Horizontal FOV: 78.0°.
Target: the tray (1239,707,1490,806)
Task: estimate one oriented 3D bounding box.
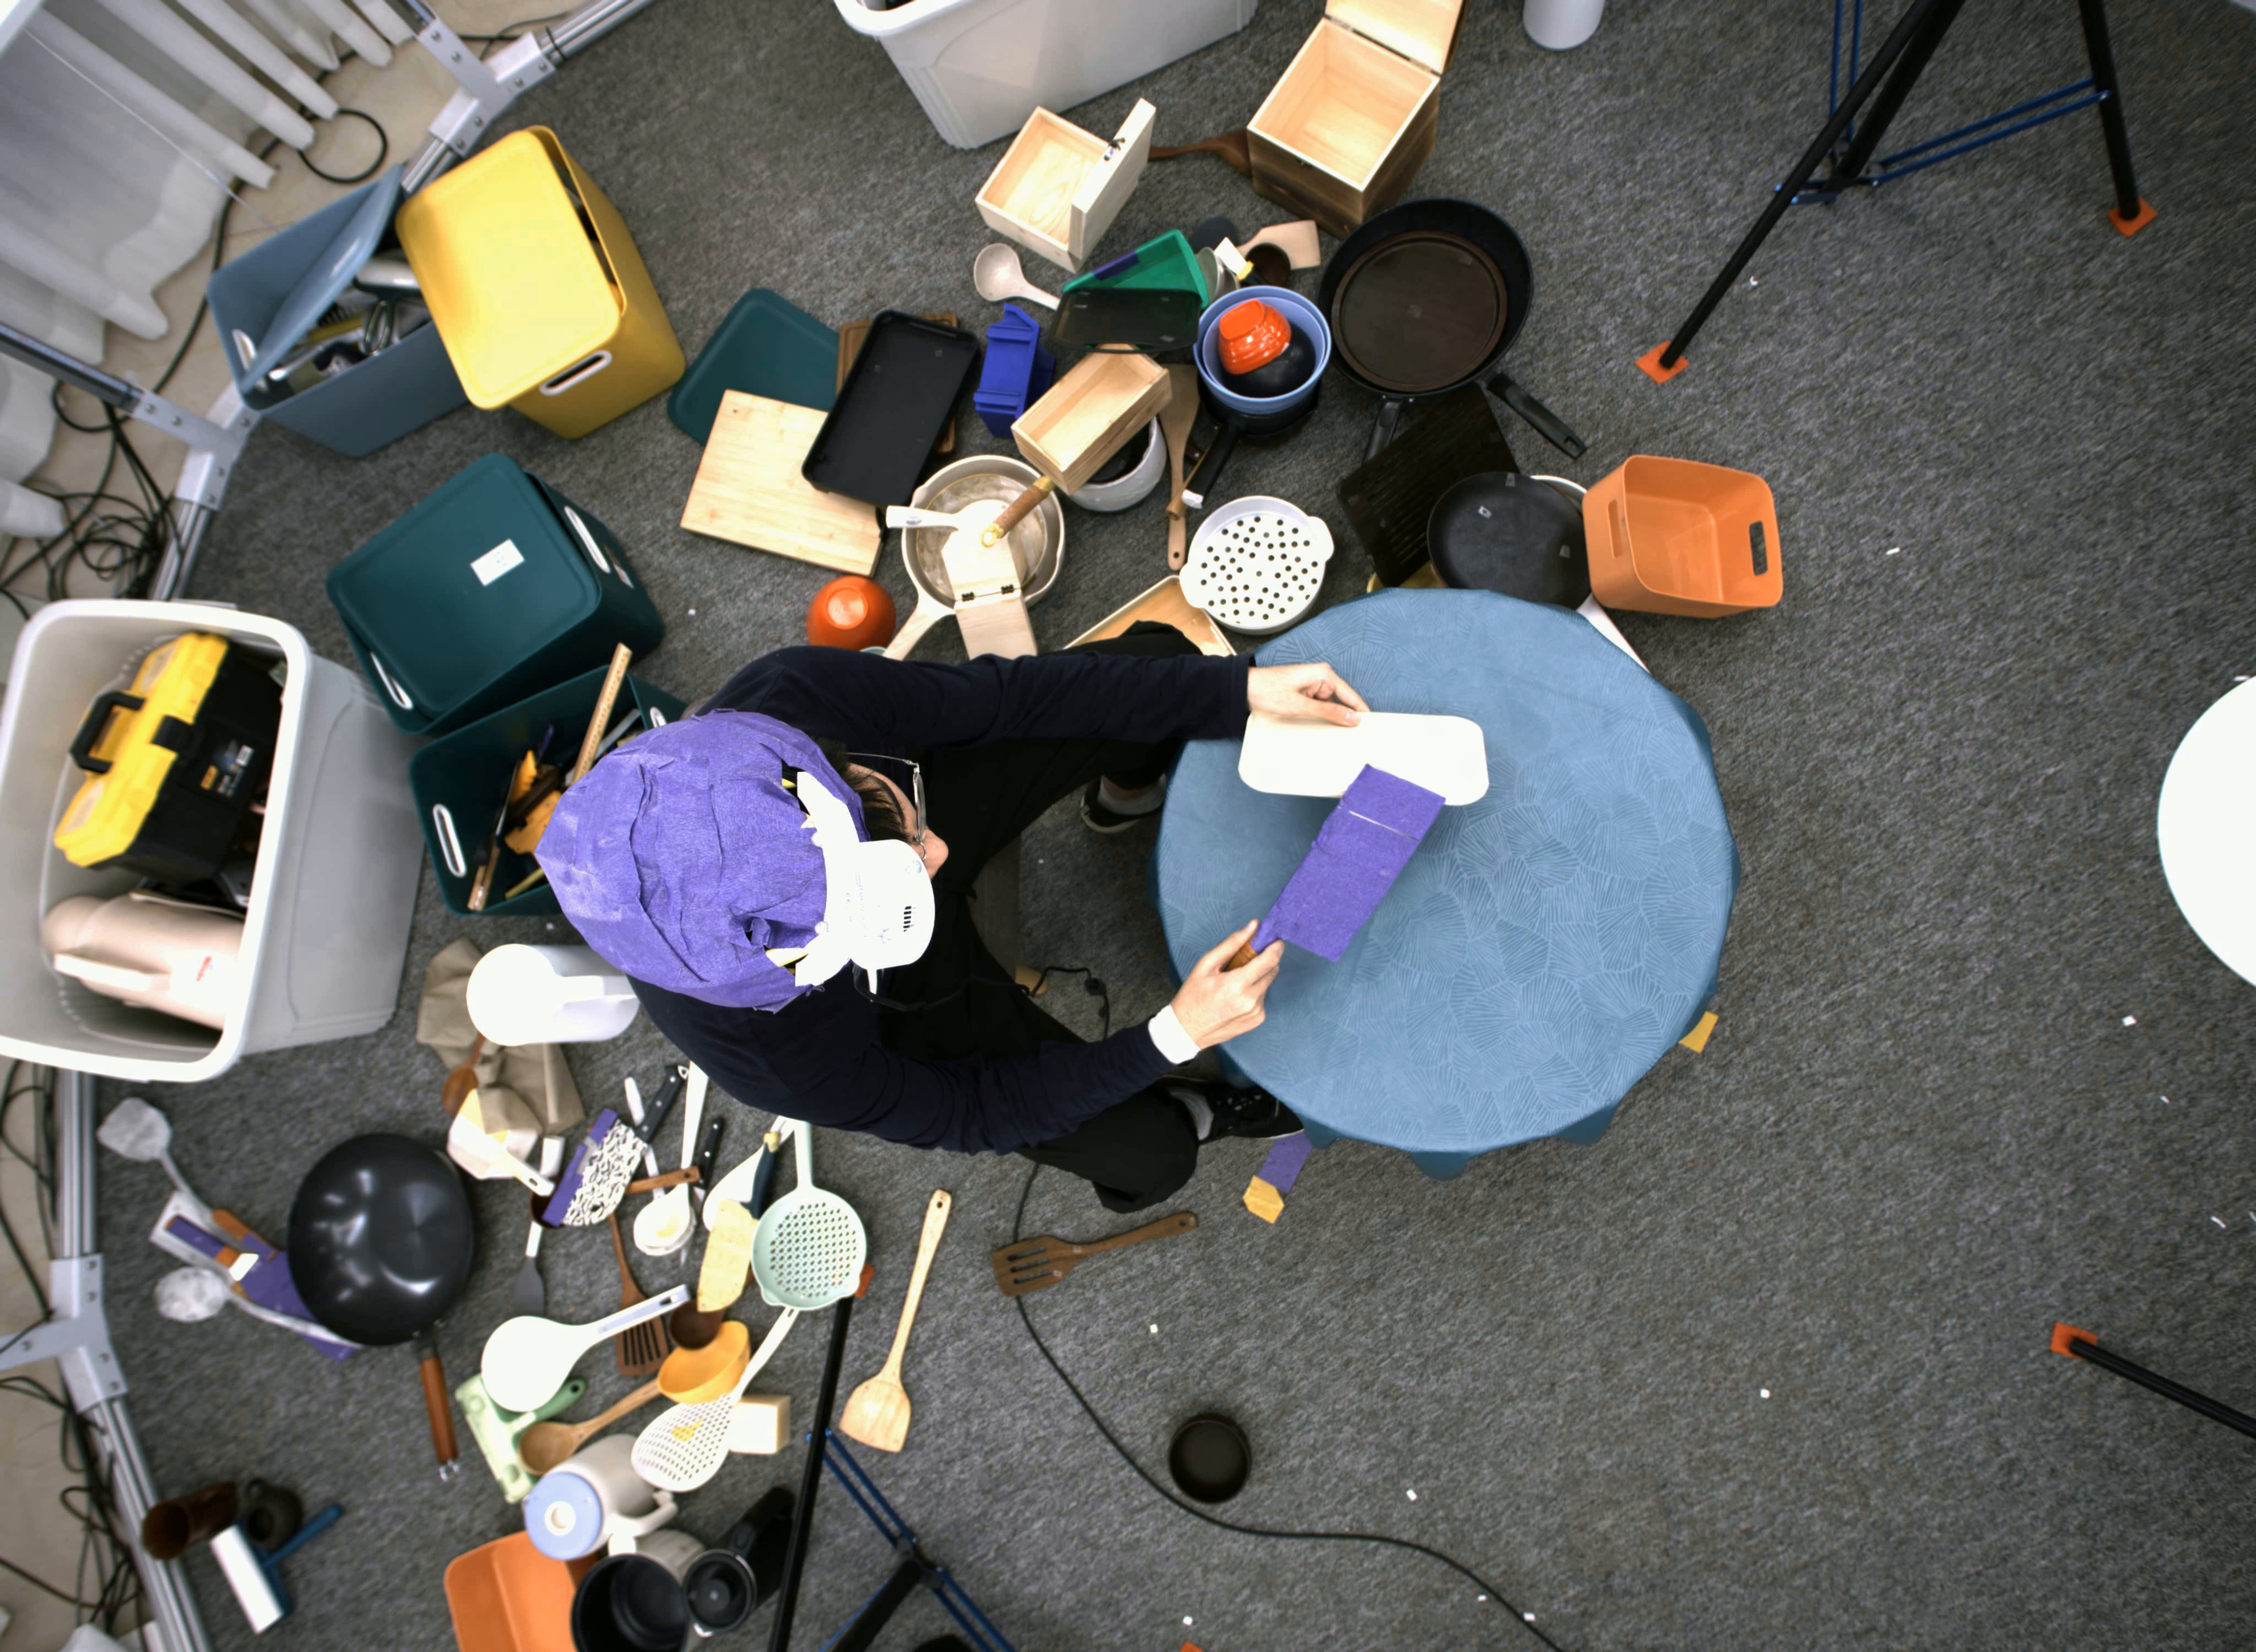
[{"bbox_3d":[0.233,-0.071,1.367,0.240,0.167,0.018,4,122,9],"label":"tray"}]

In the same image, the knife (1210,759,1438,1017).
[{"bbox_3d":[0.190,0.078,1.347,0.104,0.031,0.322,23,122,-10],"label":"knife"}]
